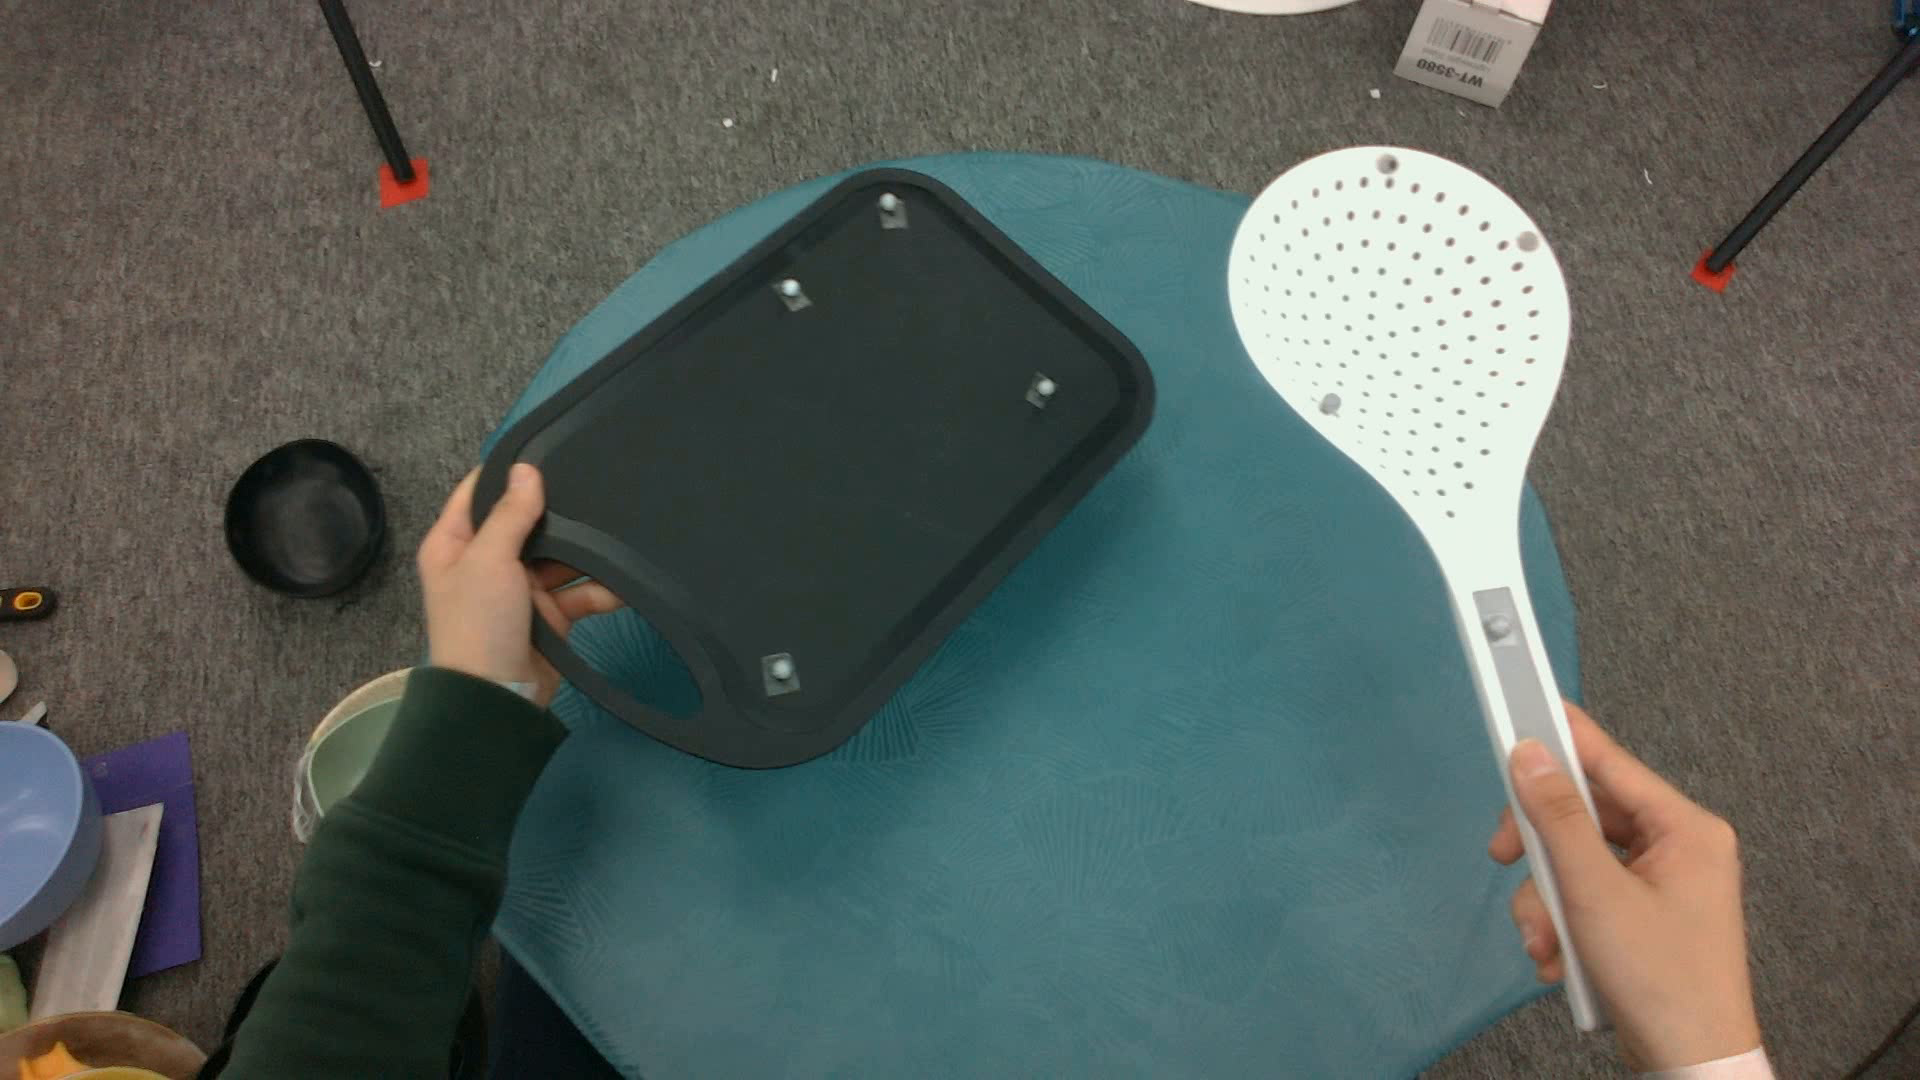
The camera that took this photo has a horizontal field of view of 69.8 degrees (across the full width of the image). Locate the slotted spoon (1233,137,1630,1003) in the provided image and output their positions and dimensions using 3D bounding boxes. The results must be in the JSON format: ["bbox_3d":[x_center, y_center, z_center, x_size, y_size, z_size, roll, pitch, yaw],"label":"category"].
[{"bbox_3d":[0.198,-0.003,0.540,0.136,0.045,0.351,-9,67,0],"label":"slotted spoon"}]

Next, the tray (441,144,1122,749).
[{"bbox_3d":[-0.075,-0.056,0.648,0.211,0.010,0.327,40,62,6],"label":"tray"}]
